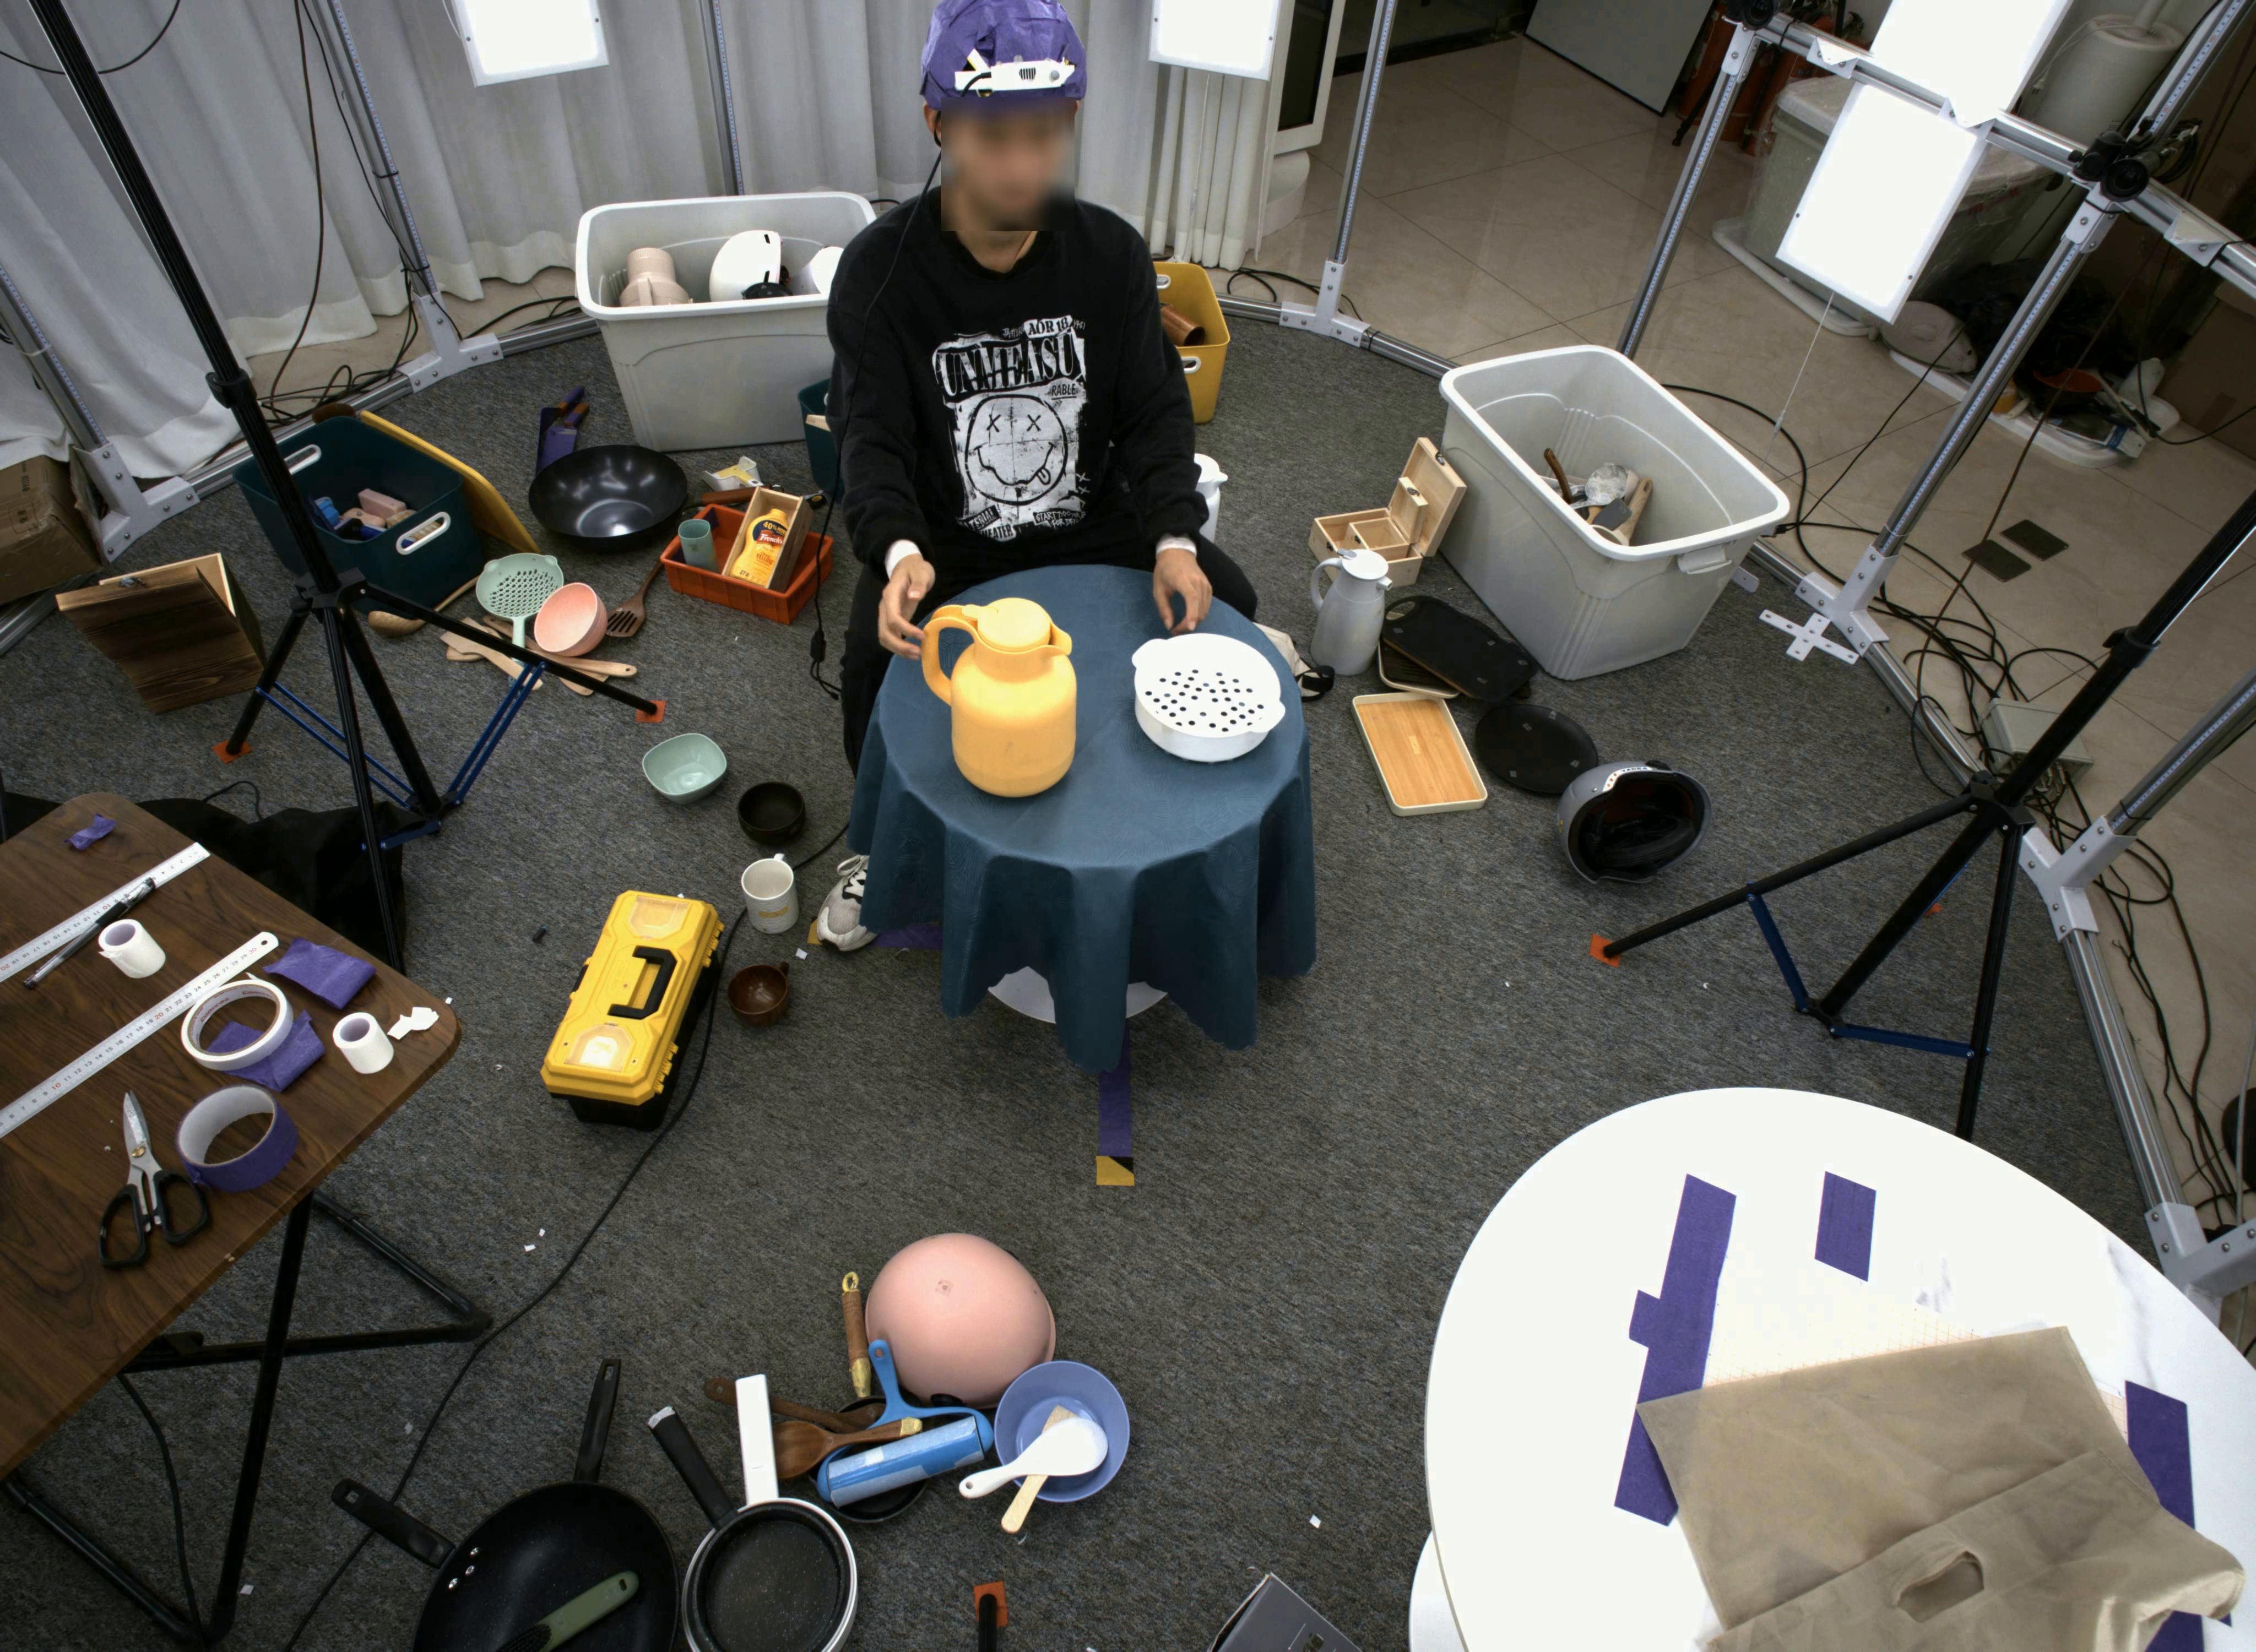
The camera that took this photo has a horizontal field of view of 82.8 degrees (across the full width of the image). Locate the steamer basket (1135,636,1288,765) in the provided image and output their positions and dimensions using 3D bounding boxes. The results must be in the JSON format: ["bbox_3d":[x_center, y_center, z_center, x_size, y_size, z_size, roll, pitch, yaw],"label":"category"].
[{"bbox_3d":[0.112,-0.174,1.786,0.233,0.067,0.204,31,55,21],"label":"steamer basket"}]

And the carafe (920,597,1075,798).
[{"bbox_3d":[-0.166,-0.176,1.641,0.203,0.254,0.166,20,48,10],"label":"carafe"}]
